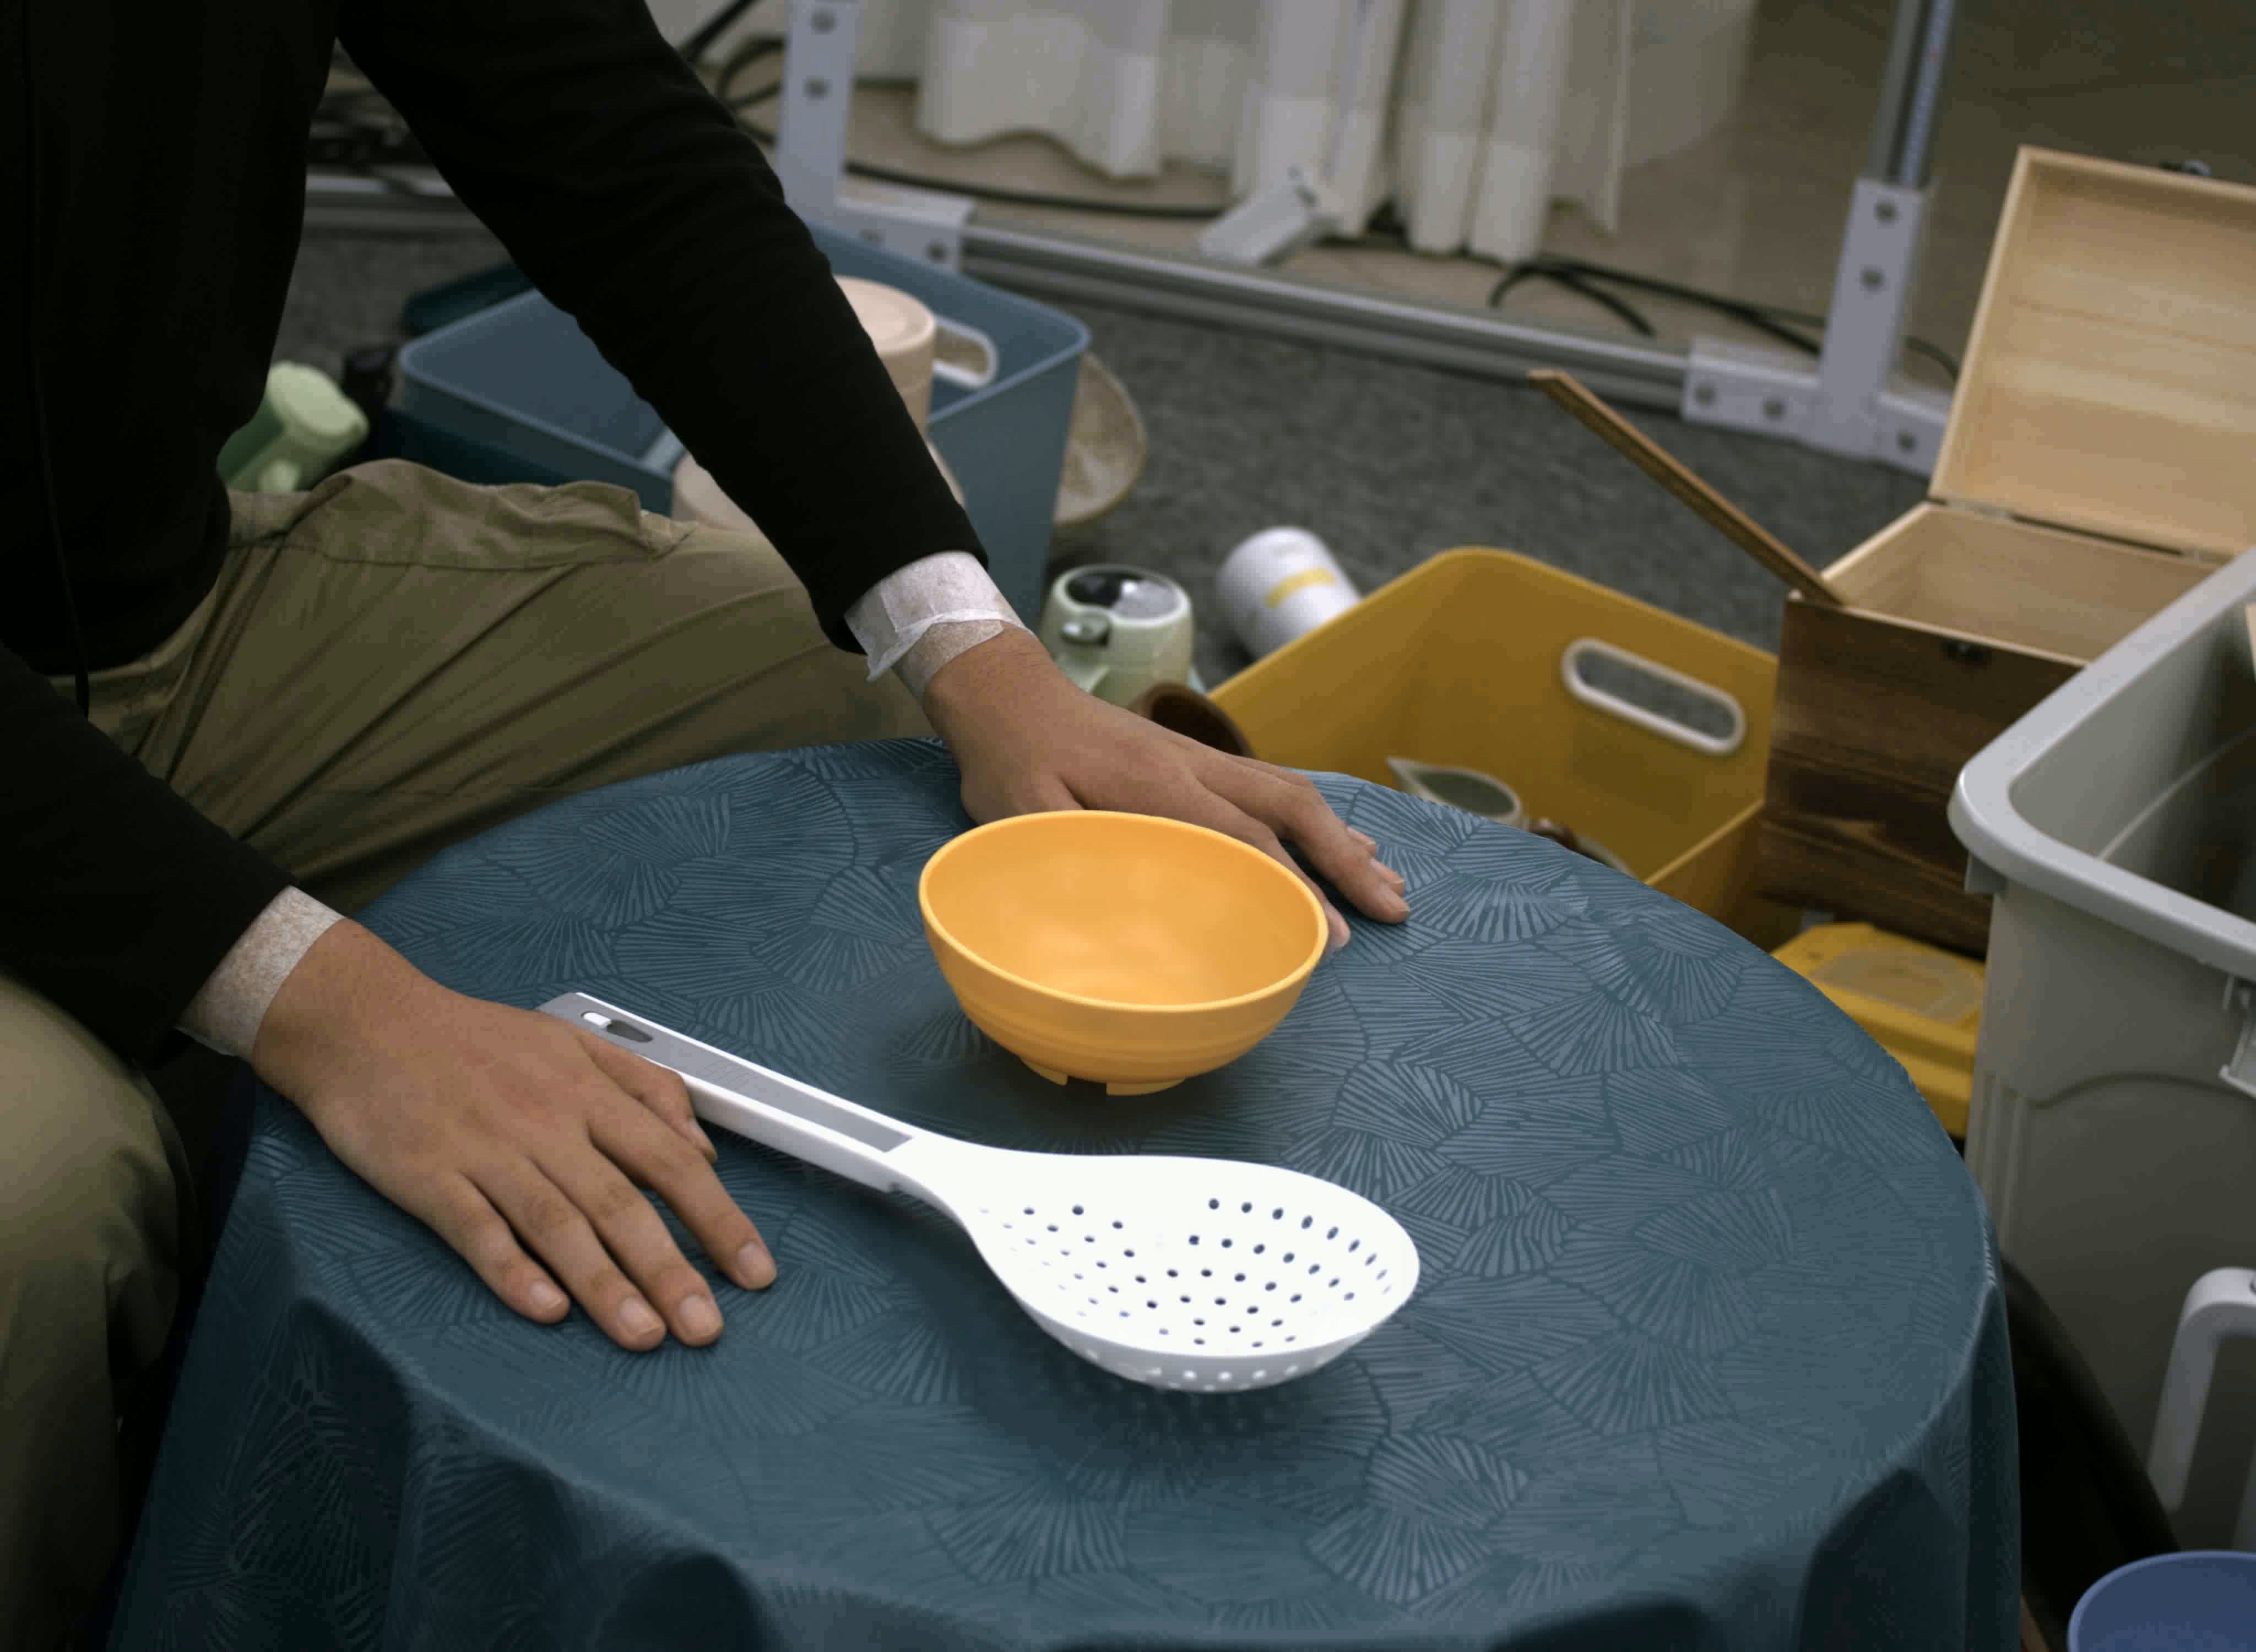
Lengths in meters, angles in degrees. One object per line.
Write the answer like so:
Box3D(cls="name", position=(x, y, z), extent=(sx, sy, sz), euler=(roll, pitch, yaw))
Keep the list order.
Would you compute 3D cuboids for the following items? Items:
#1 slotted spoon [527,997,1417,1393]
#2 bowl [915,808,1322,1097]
Box3D(cls="slotted spoon", position=(-0.063, 0.115, 1.755), extent=(0.352, 0.045, 0.135), euler=(23, 30, 31))
Box3D(cls="bowl", position=(-0.007, 0.054, 1.875), extent=(0.145, 0.060, 0.146), euler=(7, 27, -4))
